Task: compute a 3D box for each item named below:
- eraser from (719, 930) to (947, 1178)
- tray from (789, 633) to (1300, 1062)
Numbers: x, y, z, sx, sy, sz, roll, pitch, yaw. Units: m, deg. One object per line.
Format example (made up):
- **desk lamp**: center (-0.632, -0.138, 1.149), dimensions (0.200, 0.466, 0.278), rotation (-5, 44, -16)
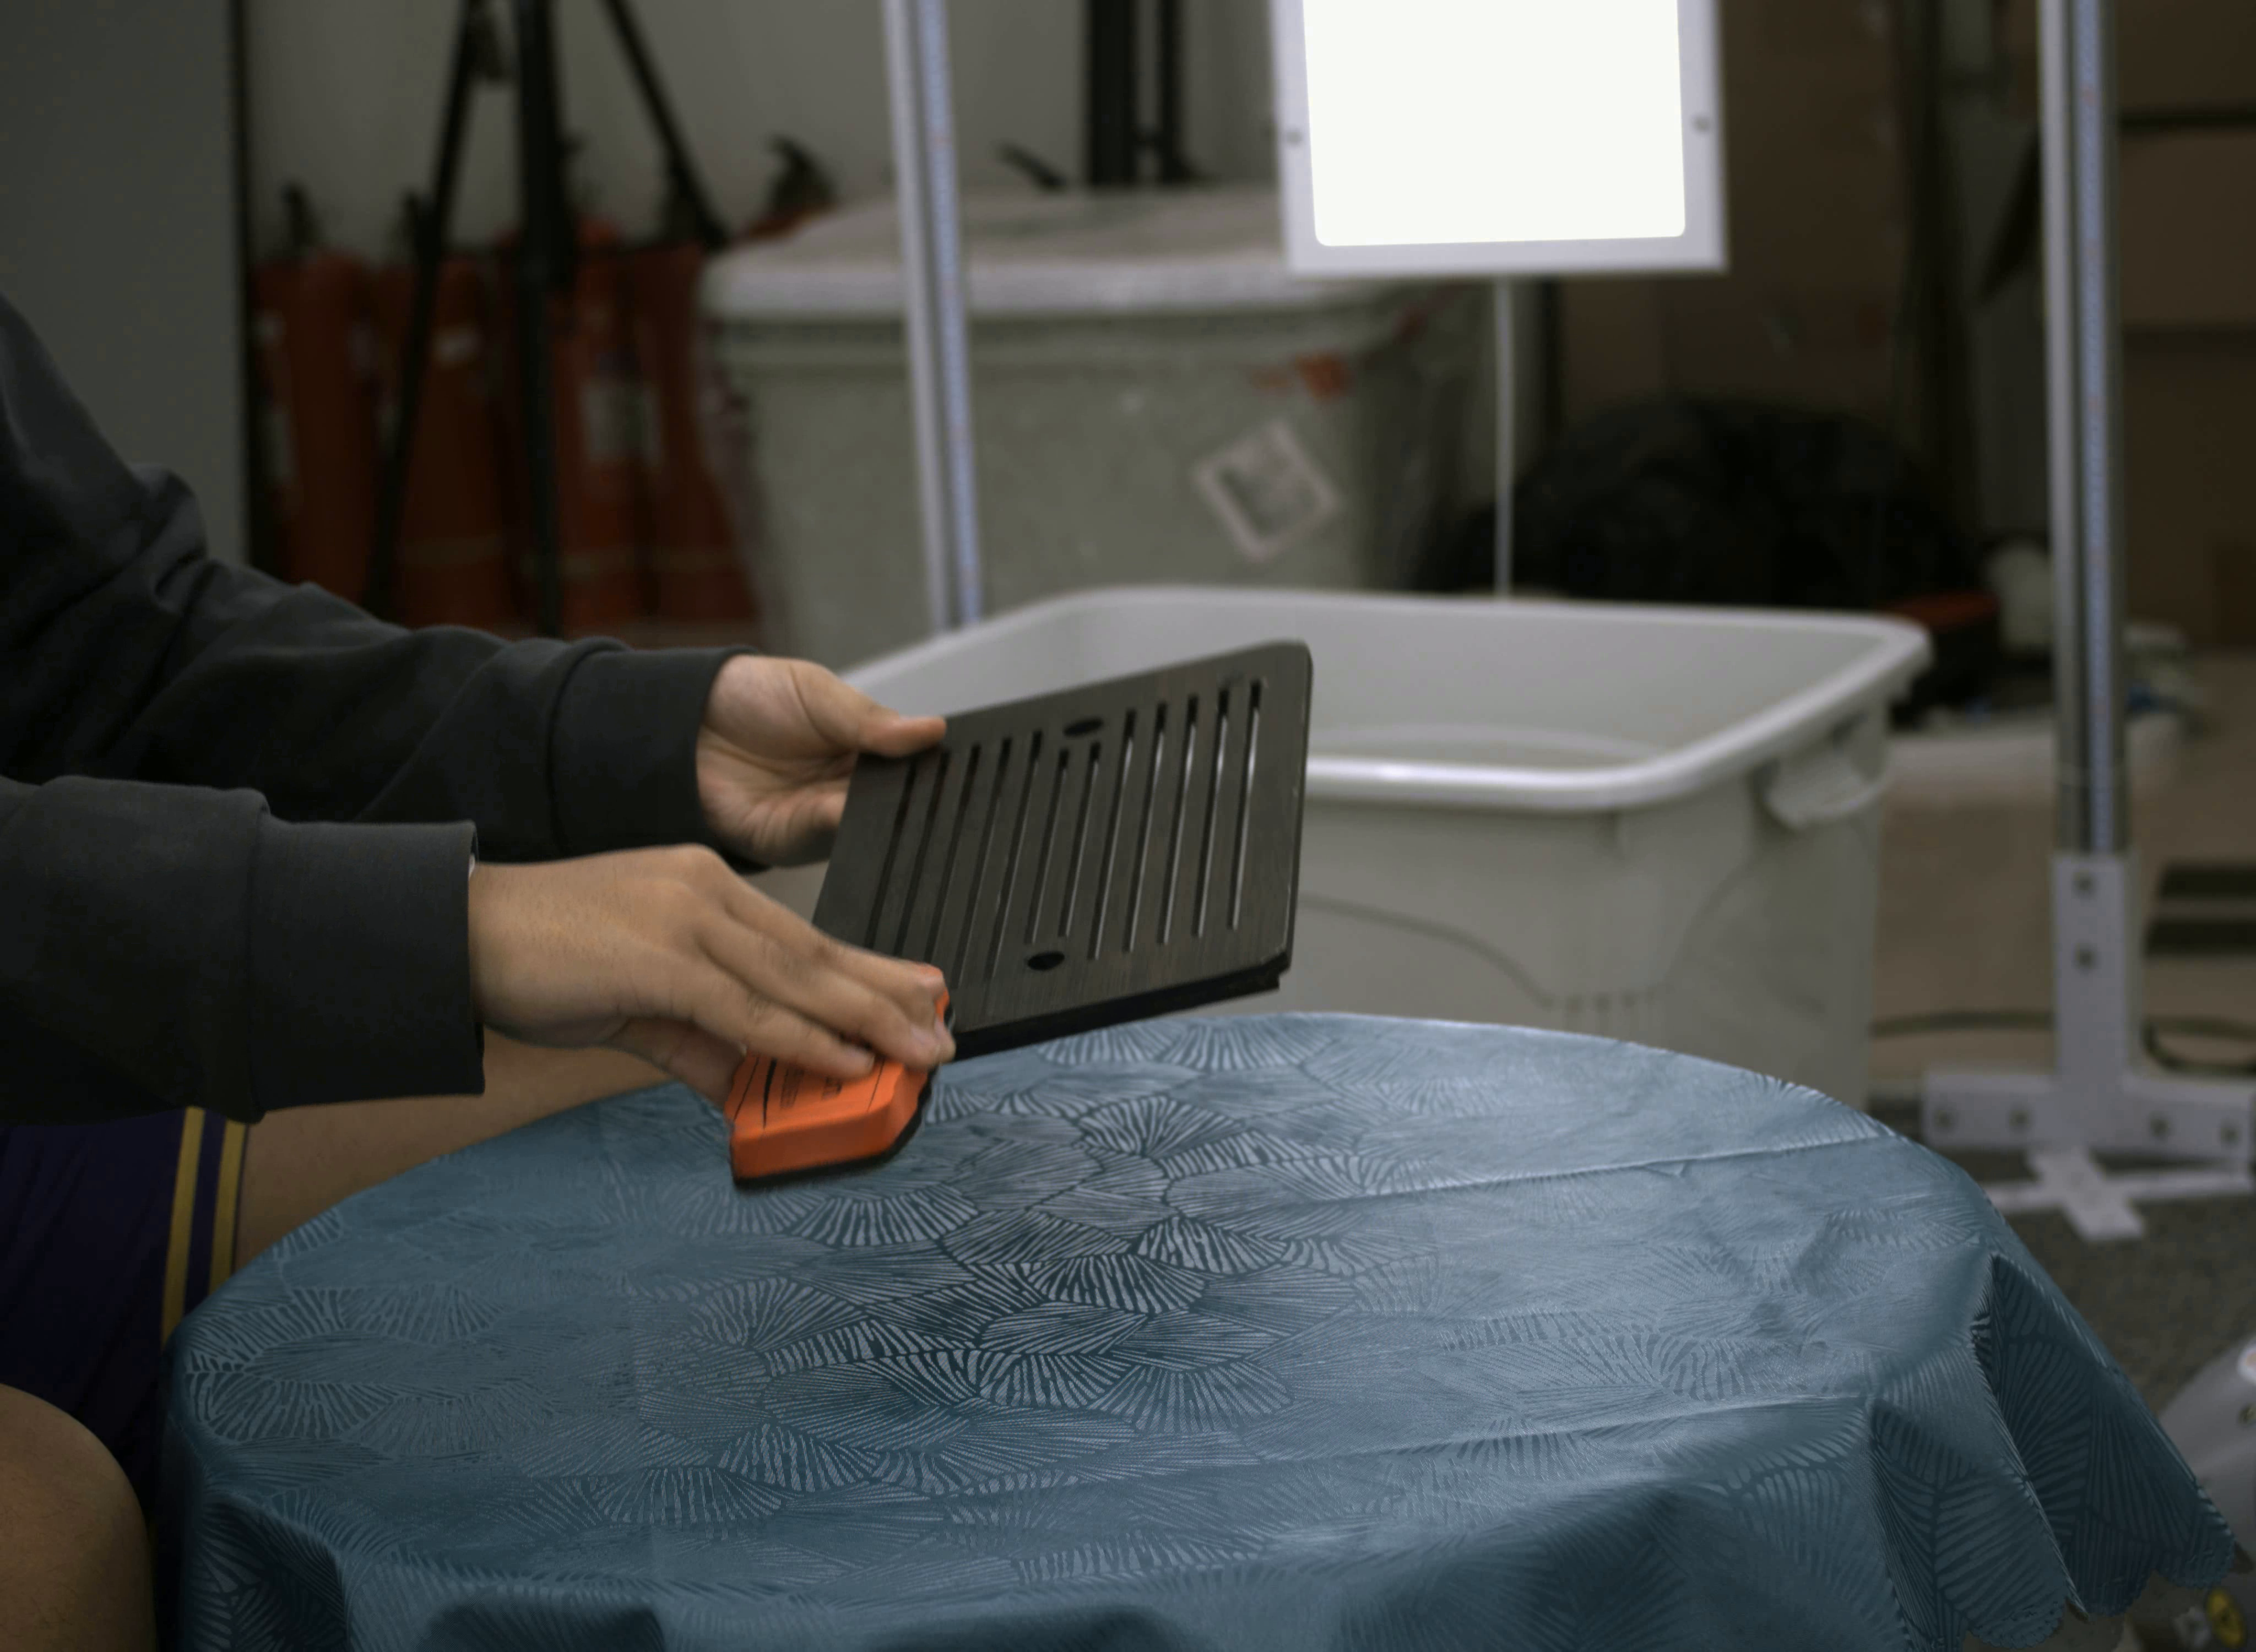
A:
- **eraser**: center (-0.090, 0.069, 1.702), dimensions (0.059, 0.023, 0.107), rotation (-13, 25, 13)
- **tray**: center (-0.026, 0.009, 1.865), dimensions (0.171, 0.018, 0.304), rotation (-14, 21, 9)
